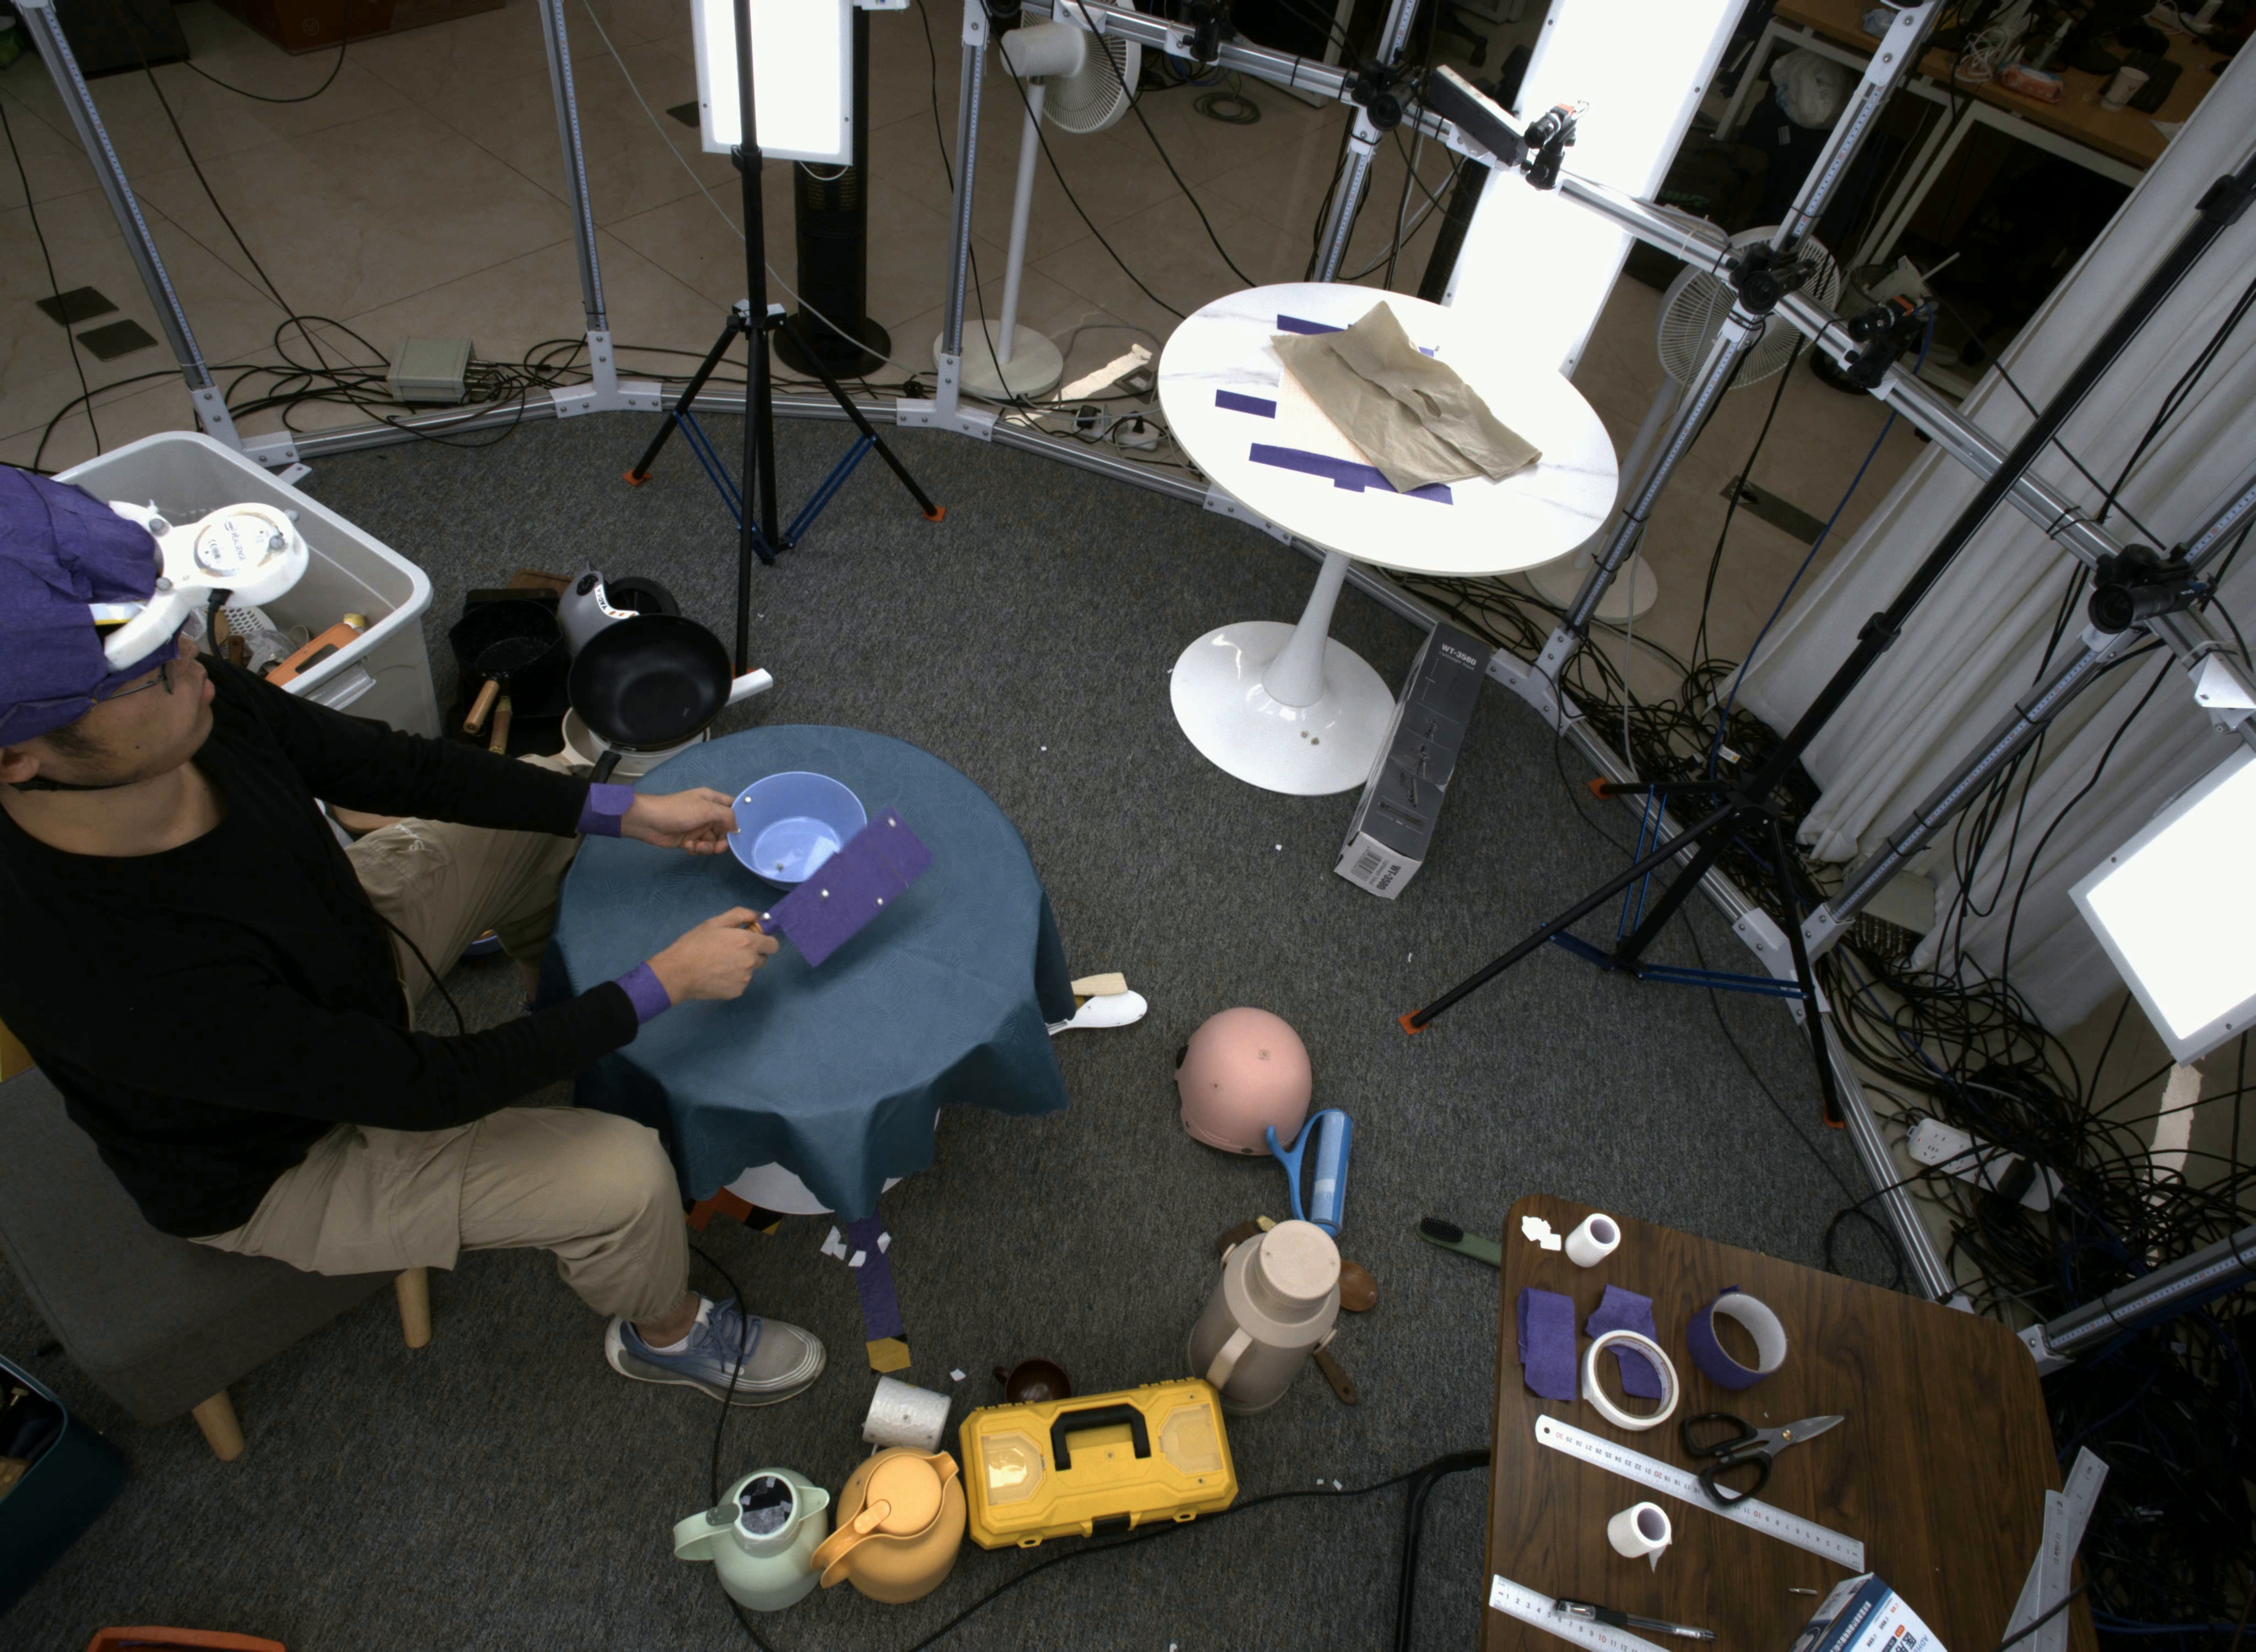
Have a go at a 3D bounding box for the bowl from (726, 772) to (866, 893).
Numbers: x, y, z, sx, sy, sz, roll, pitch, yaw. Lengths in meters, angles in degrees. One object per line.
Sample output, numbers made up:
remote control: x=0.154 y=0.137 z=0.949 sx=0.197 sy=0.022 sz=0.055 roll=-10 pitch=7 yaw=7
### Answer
bowl: x=-0.423 y=0.018 z=1.662 sx=0.175 sy=0.072 sz=0.173 roll=7 pitch=52 yaw=-7

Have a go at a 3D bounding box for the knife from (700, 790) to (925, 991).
knife: x=-0.371 y=0.096 z=1.567 sx=0.315 sy=0.031 sz=0.107 roll=-47 pitch=112 yaw=-22
